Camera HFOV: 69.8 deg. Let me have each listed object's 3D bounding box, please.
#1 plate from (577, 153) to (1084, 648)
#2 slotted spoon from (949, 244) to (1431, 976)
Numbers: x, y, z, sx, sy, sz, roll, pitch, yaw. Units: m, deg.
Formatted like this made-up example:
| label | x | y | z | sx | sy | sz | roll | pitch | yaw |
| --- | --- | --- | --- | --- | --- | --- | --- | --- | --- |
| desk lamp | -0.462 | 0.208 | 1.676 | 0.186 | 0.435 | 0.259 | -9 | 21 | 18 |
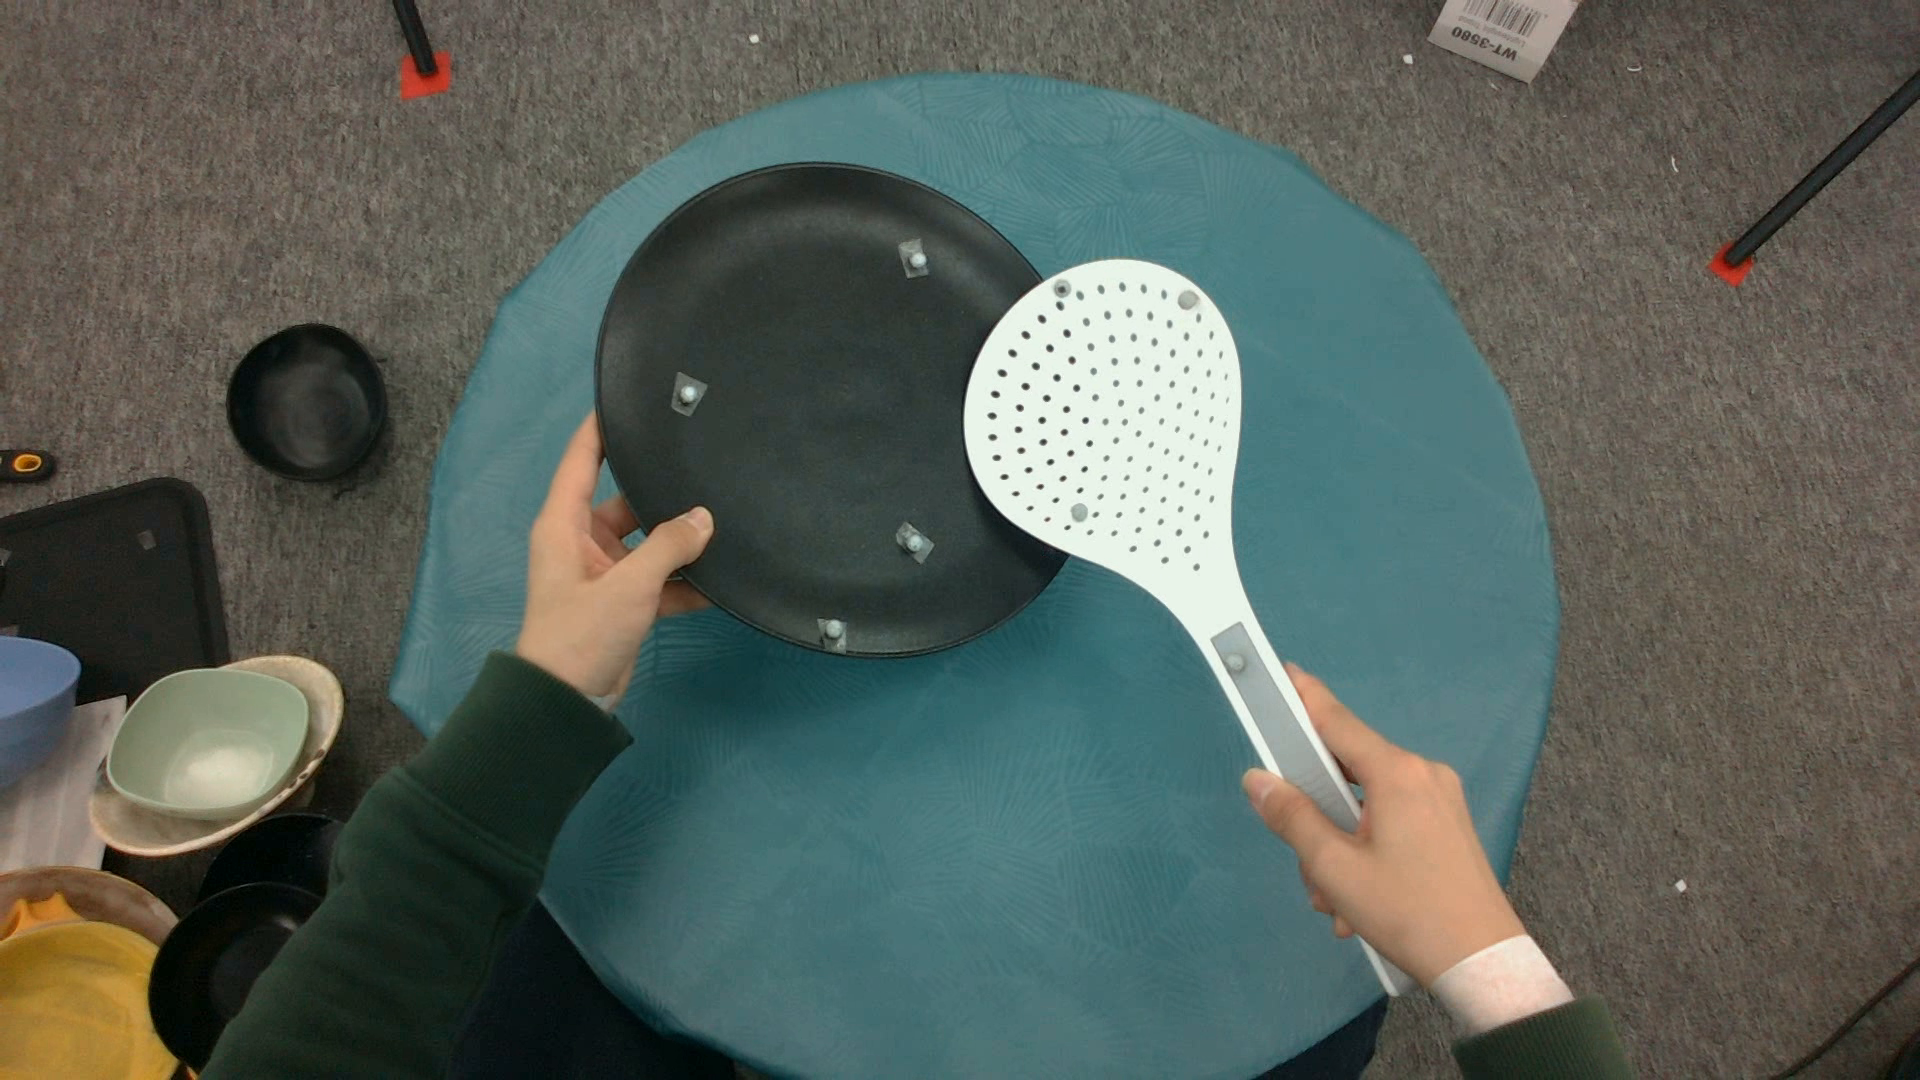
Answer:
| label | x | y | z | sx | sy | sz | roll | pitch | yaw |
| --- | --- | --- | --- | --- | --- | --- | --- | --- | --- |
| plate | -0.055 | -0.067 | 0.646 | 0.245 | 0.023 | 0.245 | 7 | 72 | -21 |
| slotted spoon | 0.103 | 0.020 | 0.601 | 0.135 | 0.046 | 0.350 | -34 | 62 | 18 |
